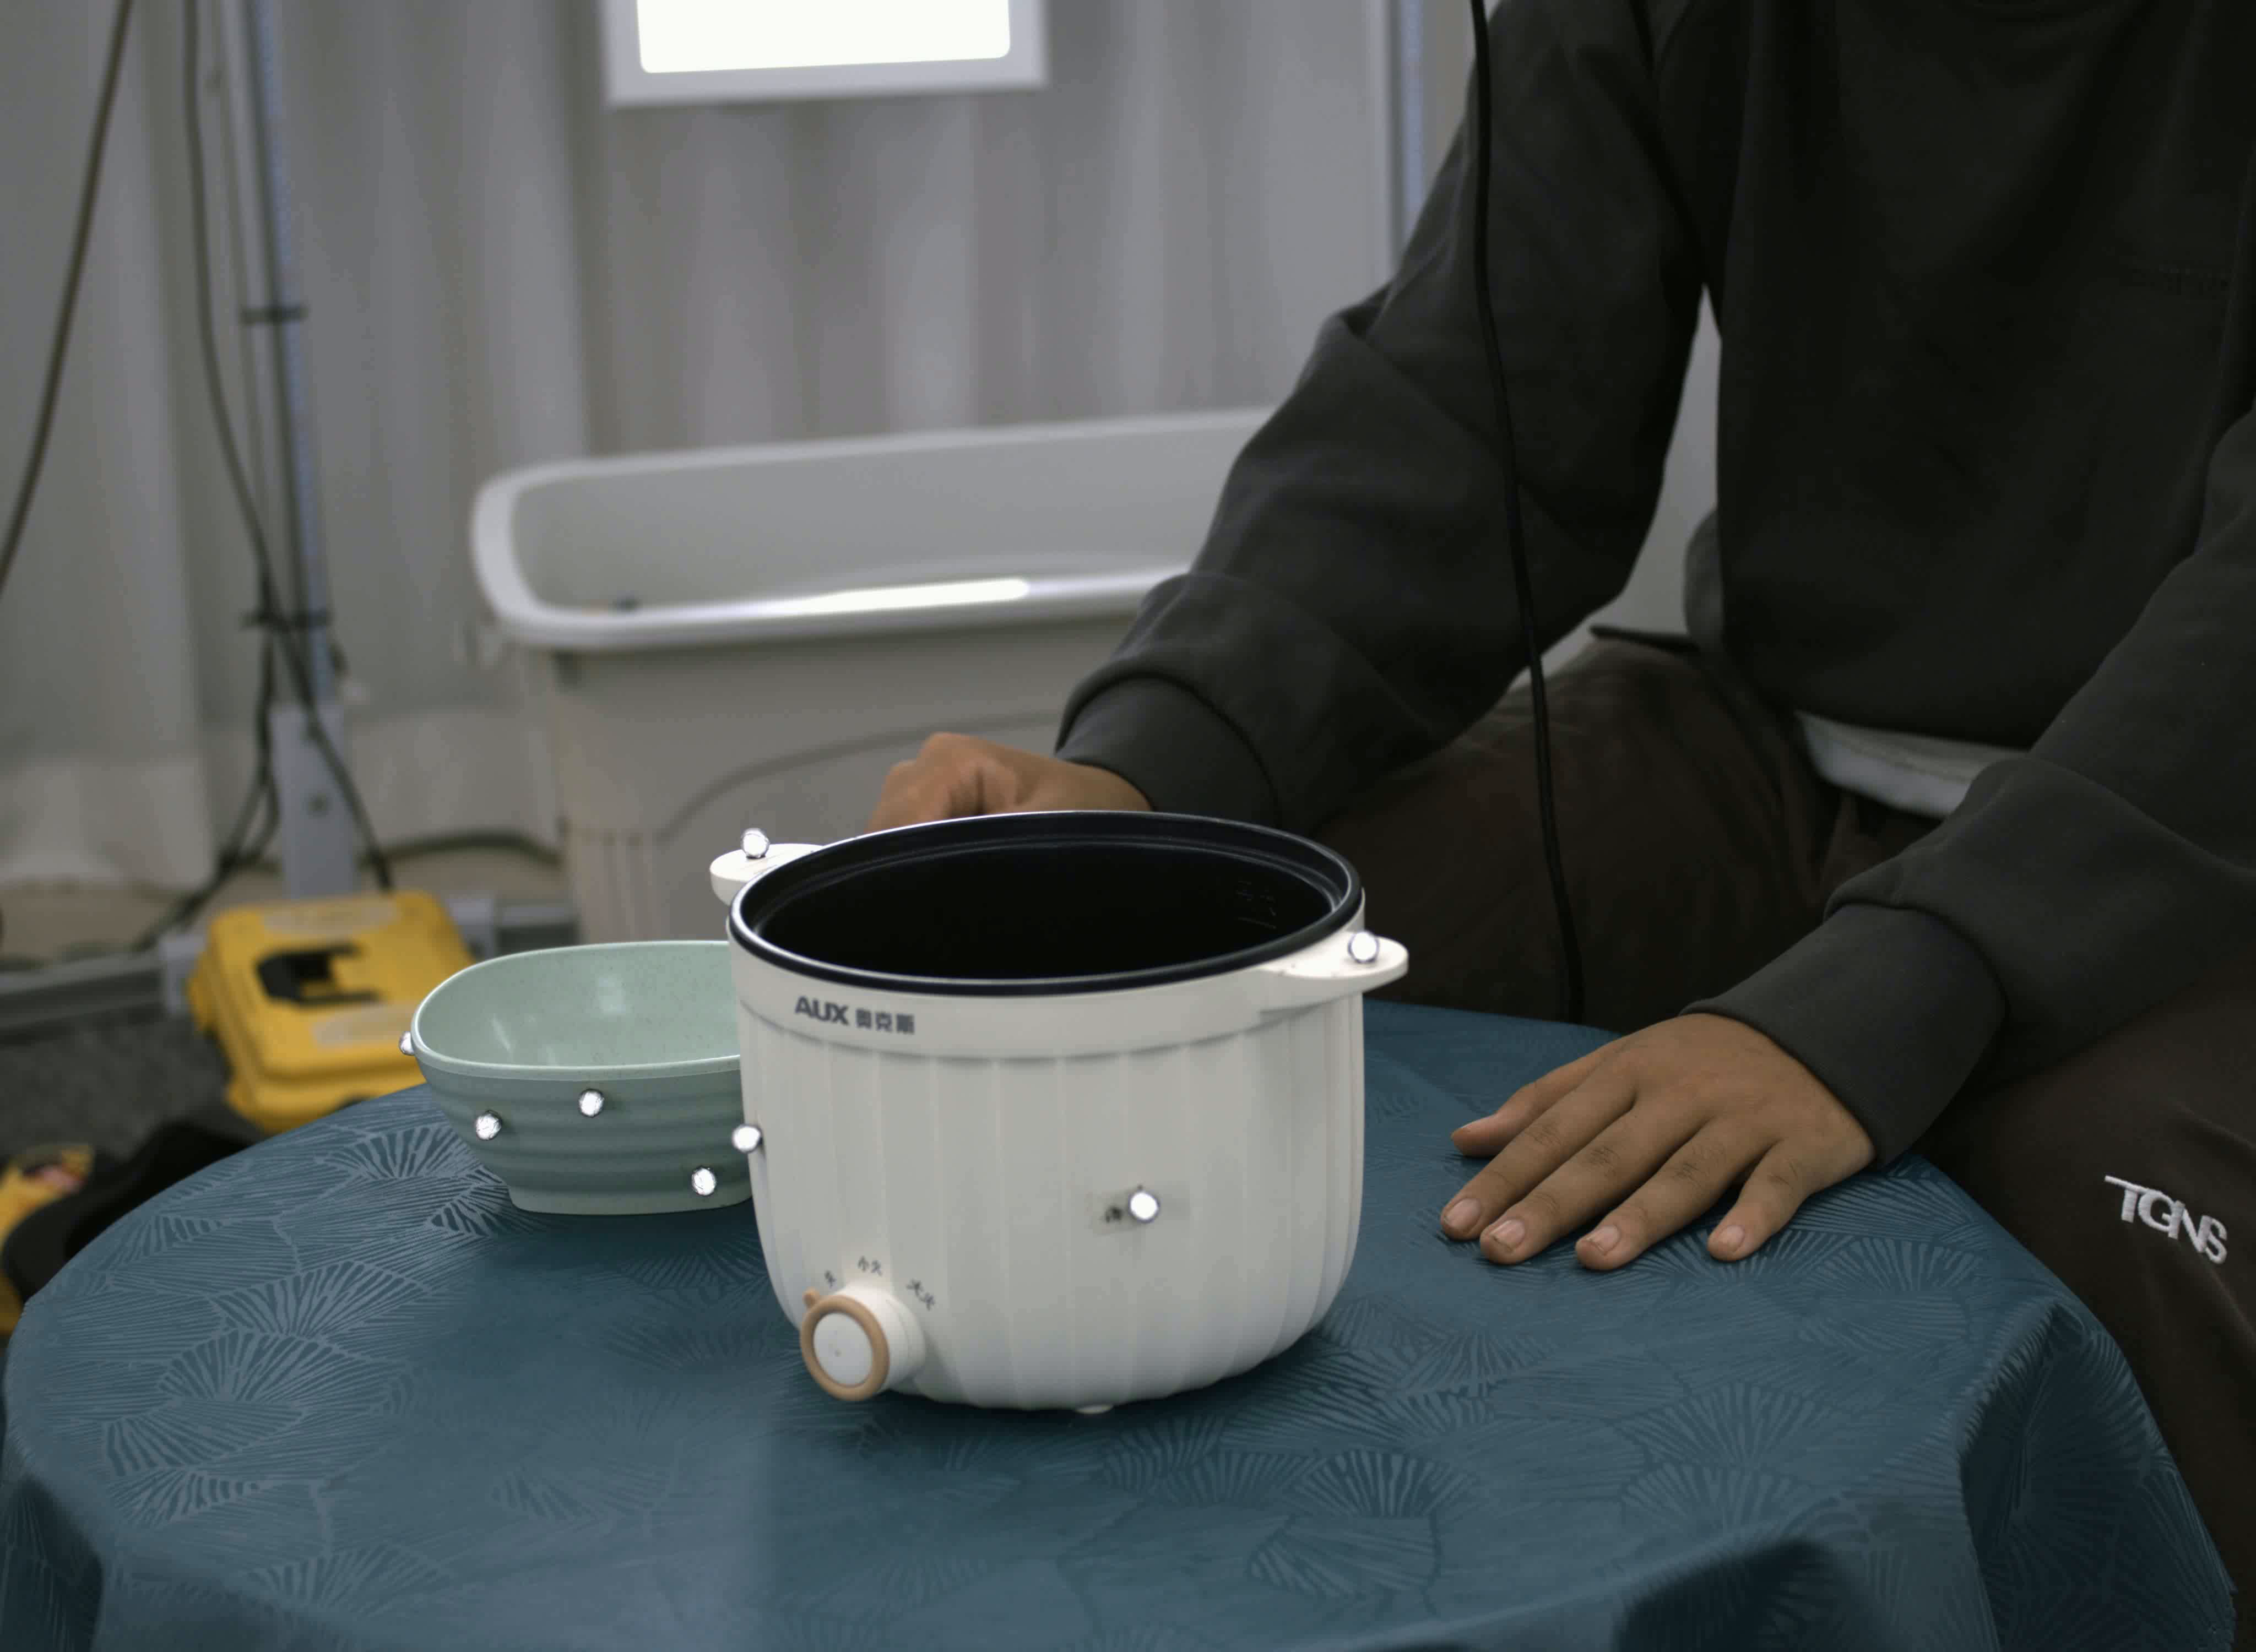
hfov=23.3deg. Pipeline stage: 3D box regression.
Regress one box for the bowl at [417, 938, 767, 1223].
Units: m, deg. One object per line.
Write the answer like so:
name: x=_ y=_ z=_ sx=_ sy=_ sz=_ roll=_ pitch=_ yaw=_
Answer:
bowl: x=-0.155 y=0.085 z=1.750 sx=0.151 sy=0.058 sz=0.152 roll=-3 pitch=16 yaw=1

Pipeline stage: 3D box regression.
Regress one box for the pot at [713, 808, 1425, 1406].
pot: x=-0.020 y=0.083 z=1.568 sx=0.241 sy=0.142 sz=0.190 roll=6 pitch=13 yaw=35
